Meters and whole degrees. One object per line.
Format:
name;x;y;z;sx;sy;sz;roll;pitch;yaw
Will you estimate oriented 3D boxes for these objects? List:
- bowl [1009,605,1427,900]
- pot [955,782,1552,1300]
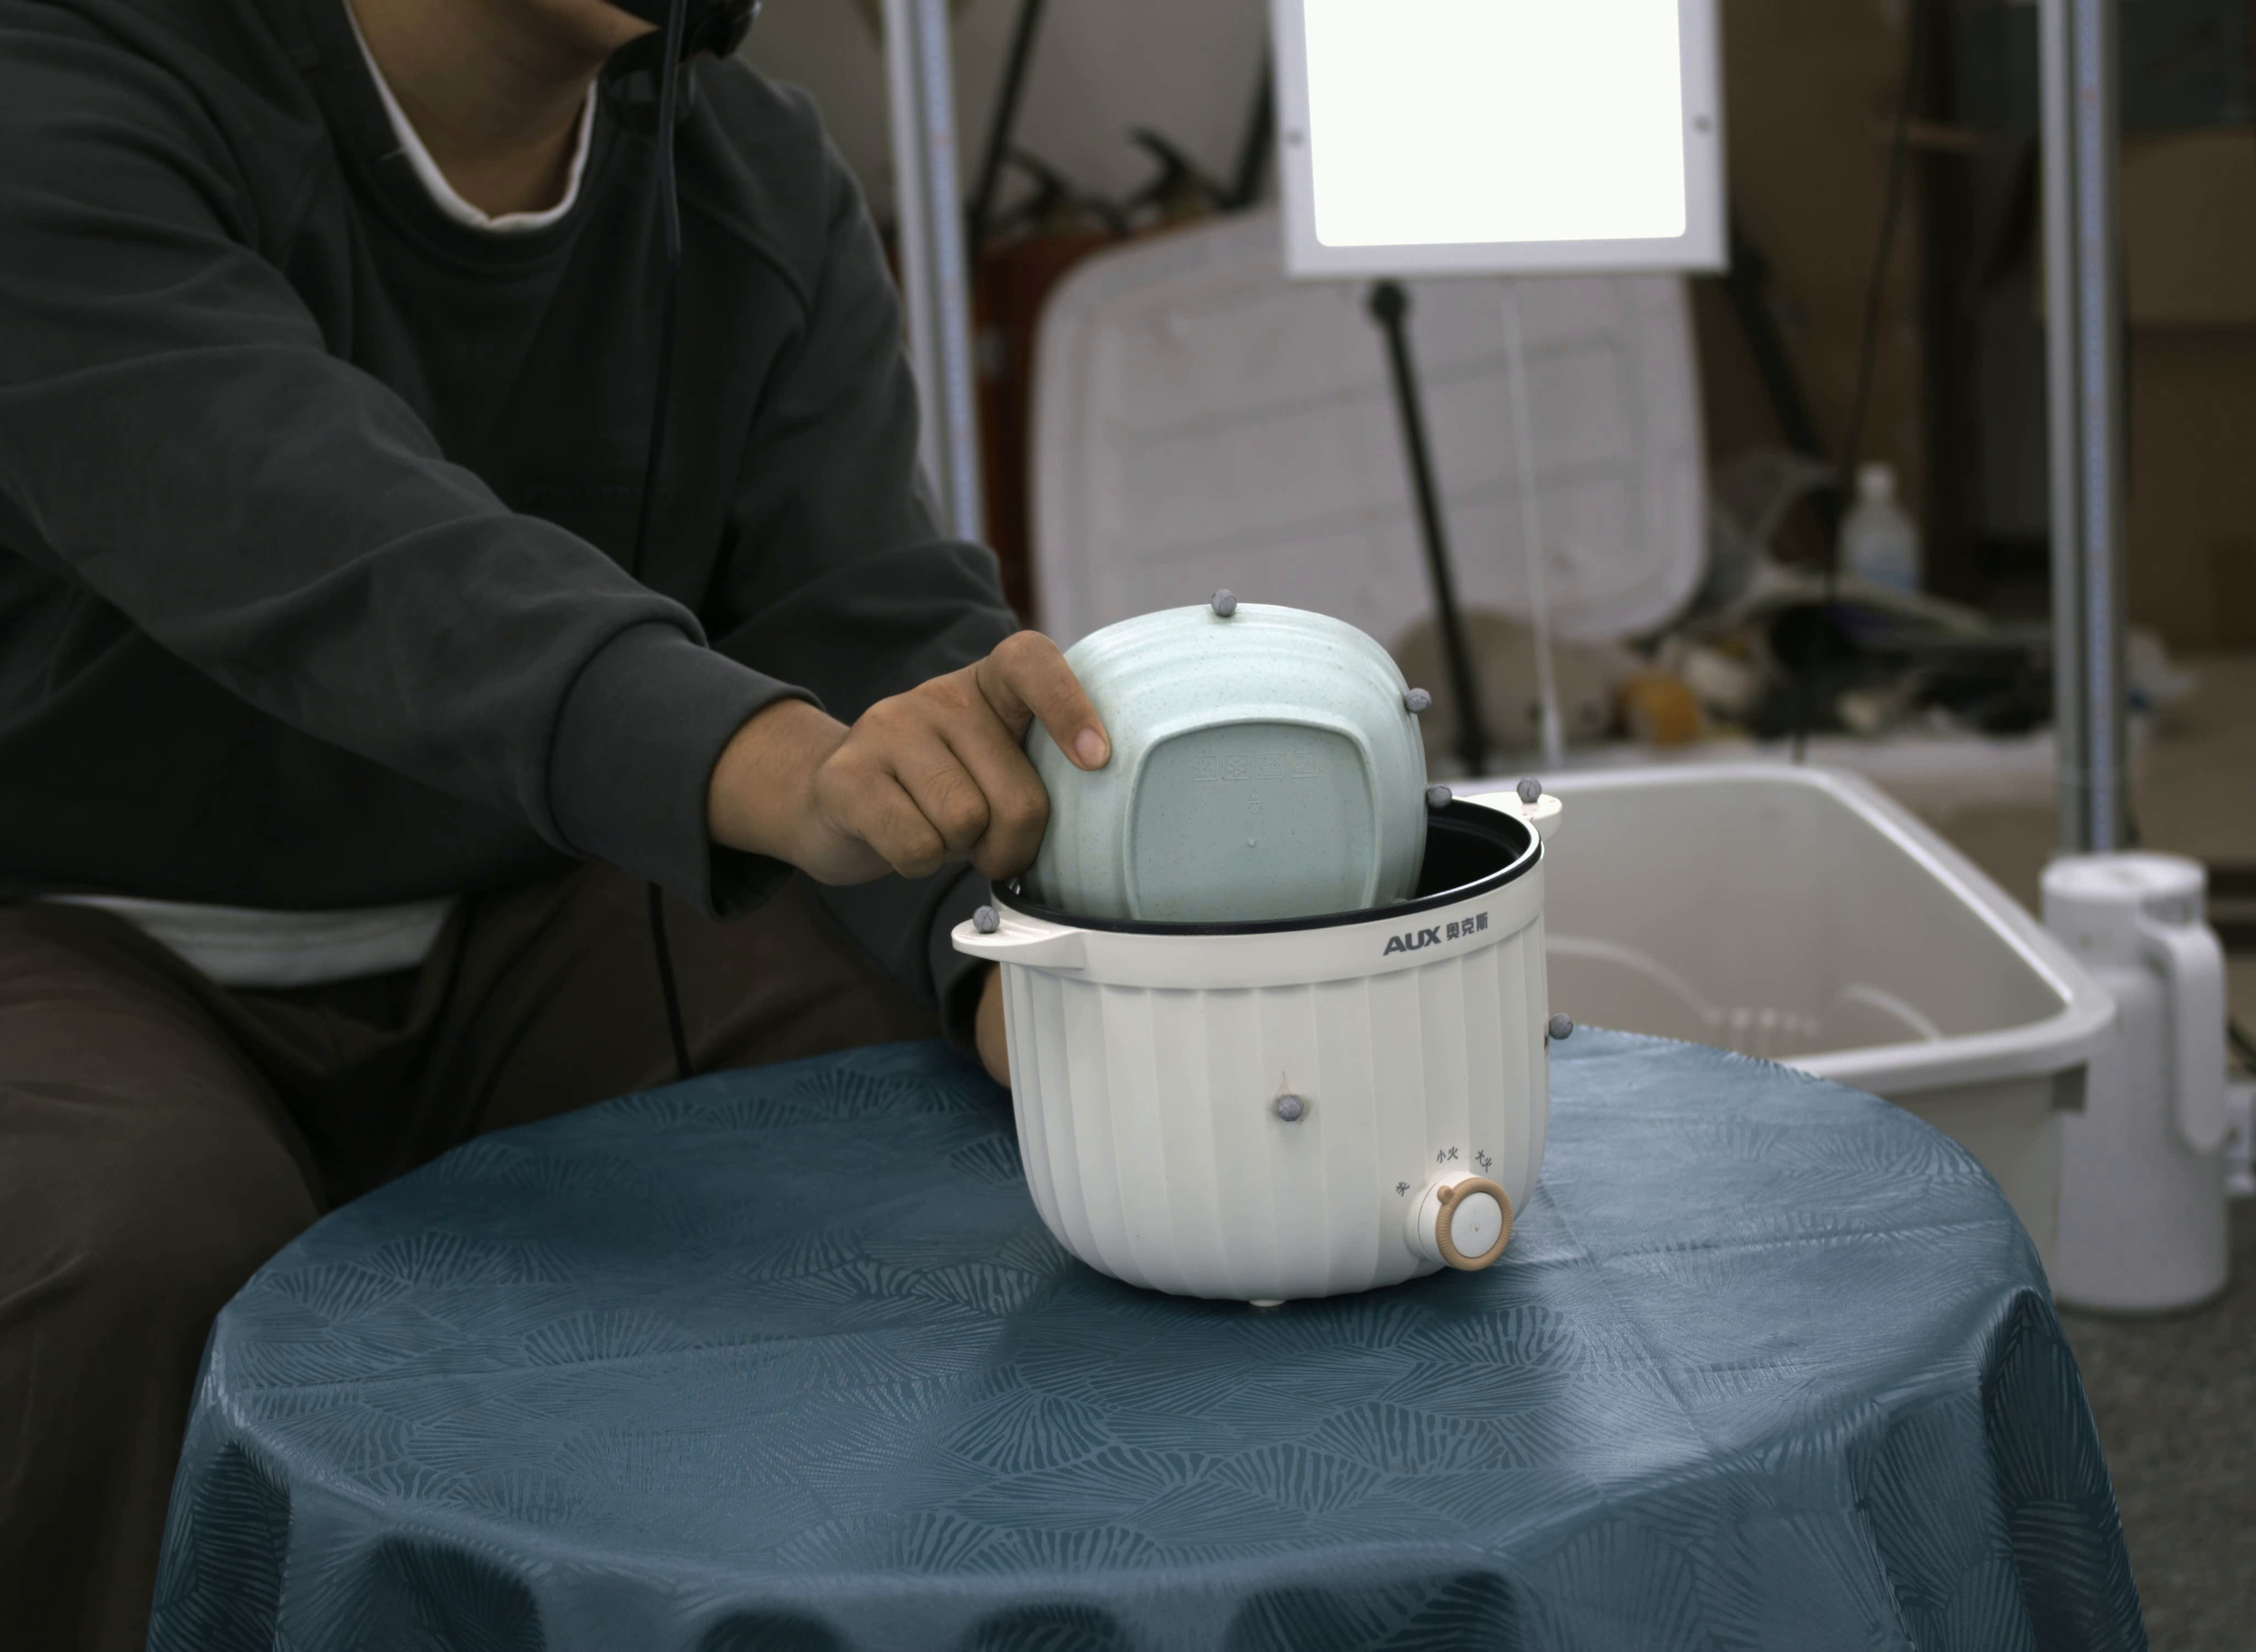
bowl;0.034;0.001;1.775;0.150;0.152;0.059;-6;12;-5
pot;0.054;0.072;1.806;0.234;0.143;0.194;-16;14;-33
